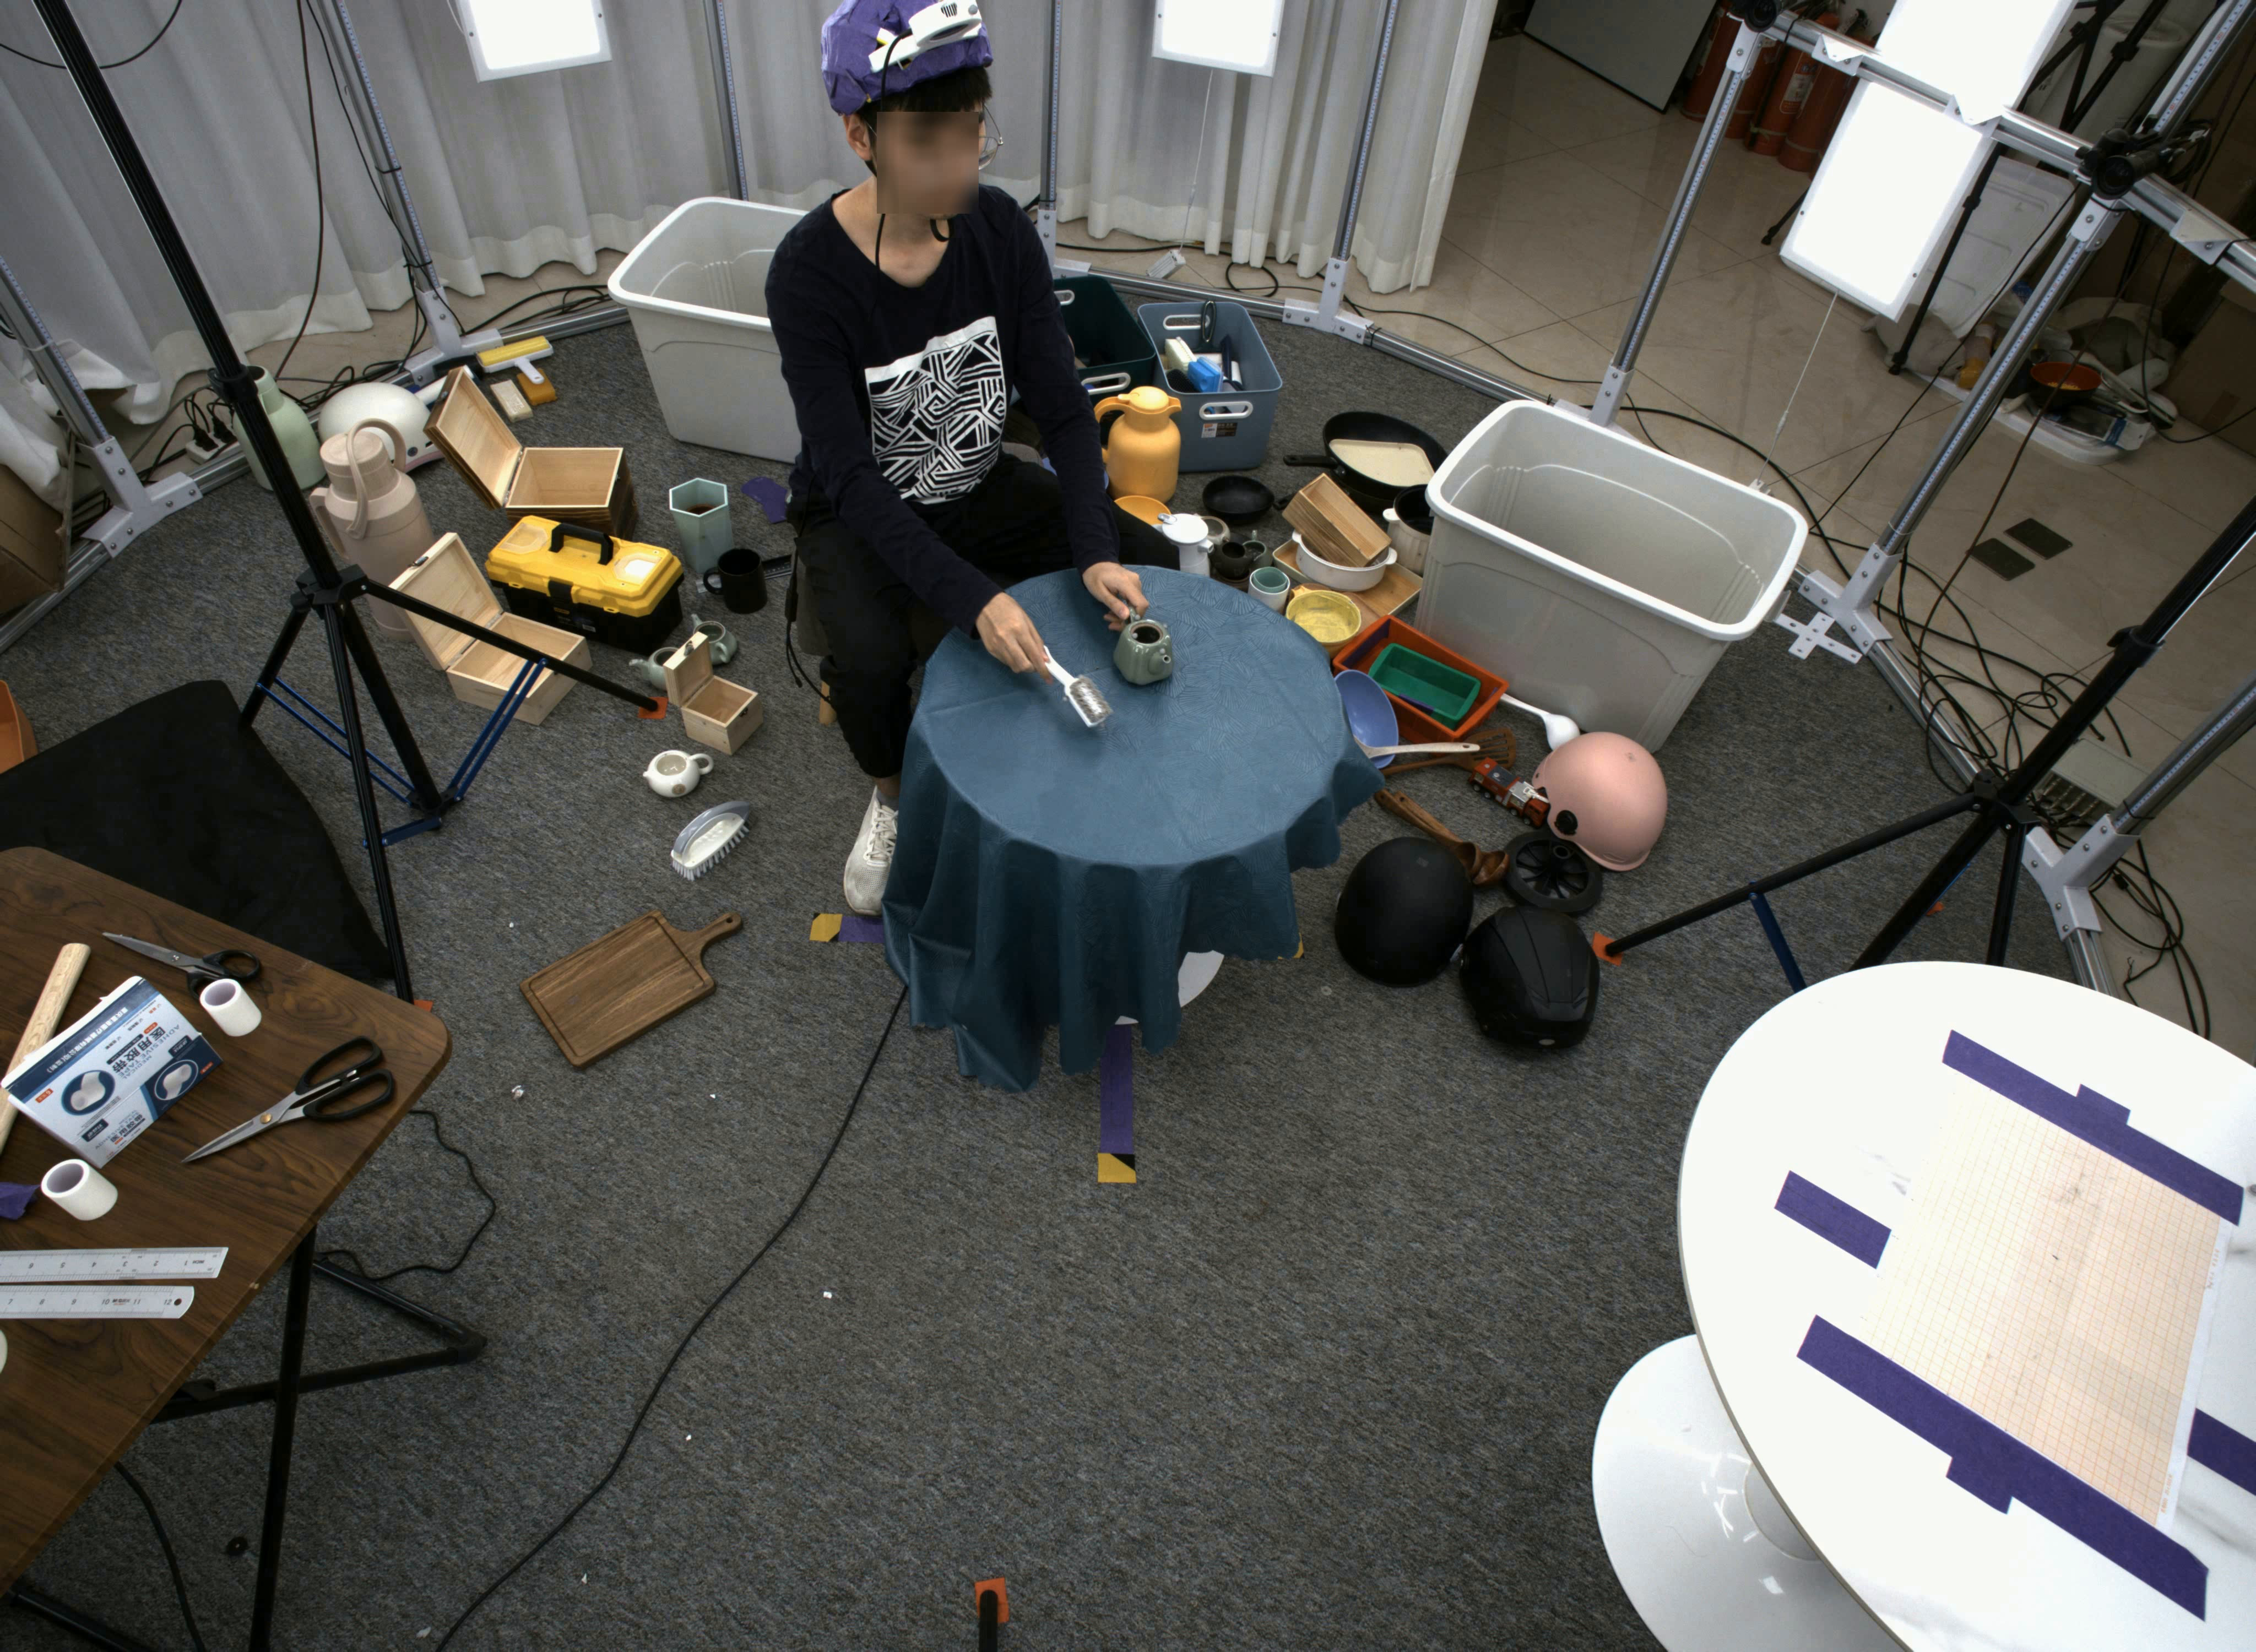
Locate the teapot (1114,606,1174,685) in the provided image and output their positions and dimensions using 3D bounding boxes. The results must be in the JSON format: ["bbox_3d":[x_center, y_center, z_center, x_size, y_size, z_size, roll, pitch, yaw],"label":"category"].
[{"bbox_3d":[0.024,-0.253,1.842,0.080,0.073,0.135,-19,52,-20],"label":"teapot"}]

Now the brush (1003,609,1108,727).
[{"bbox_3d":[-0.106,-0.231,1.786,0.034,0.049,0.248,-33,64,-11],"label":"brush"}]
